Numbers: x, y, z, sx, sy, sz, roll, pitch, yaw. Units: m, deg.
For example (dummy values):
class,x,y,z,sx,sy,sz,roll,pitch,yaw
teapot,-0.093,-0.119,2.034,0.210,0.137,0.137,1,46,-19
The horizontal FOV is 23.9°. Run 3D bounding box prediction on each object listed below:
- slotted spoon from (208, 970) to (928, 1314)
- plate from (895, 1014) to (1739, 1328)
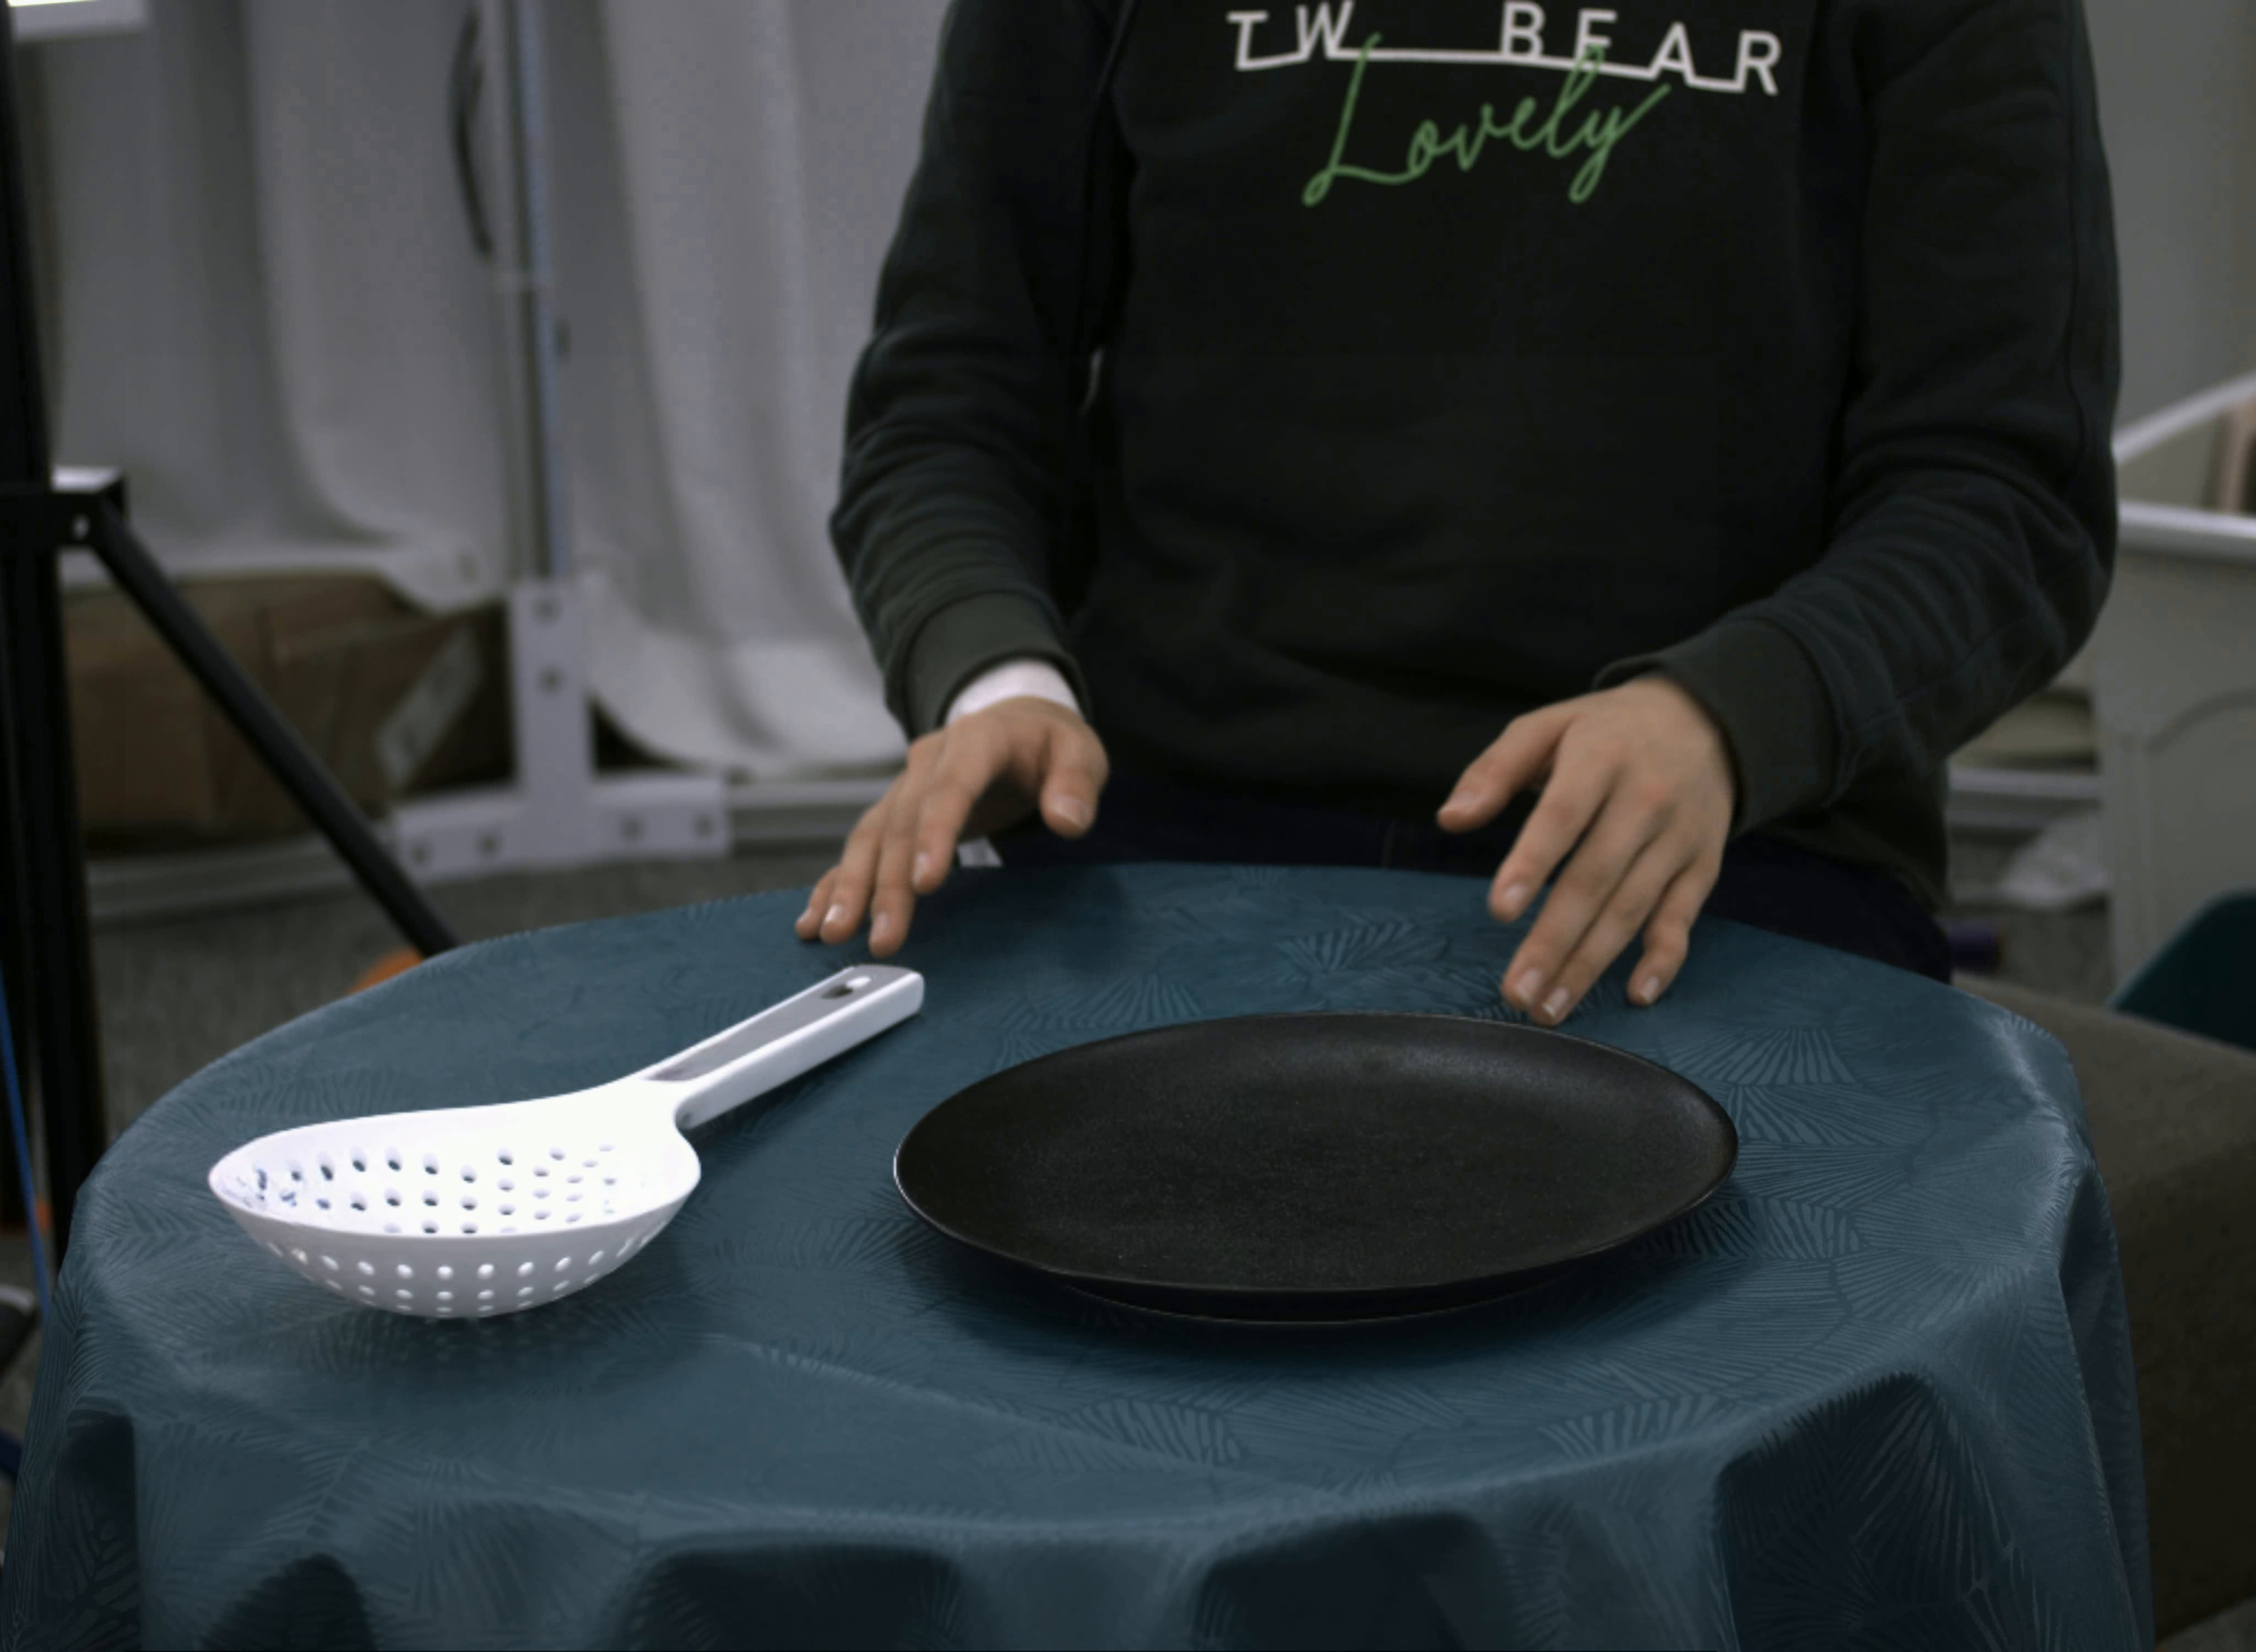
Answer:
class,x,y,z,sx,sy,sz,roll,pitch,yaw
slotted spoon,-0.145,0.084,1.583,0.138,0.046,0.344,6,17,23
plate,0.055,0.101,1.529,0.243,0.023,0.245,-3,16,-1
